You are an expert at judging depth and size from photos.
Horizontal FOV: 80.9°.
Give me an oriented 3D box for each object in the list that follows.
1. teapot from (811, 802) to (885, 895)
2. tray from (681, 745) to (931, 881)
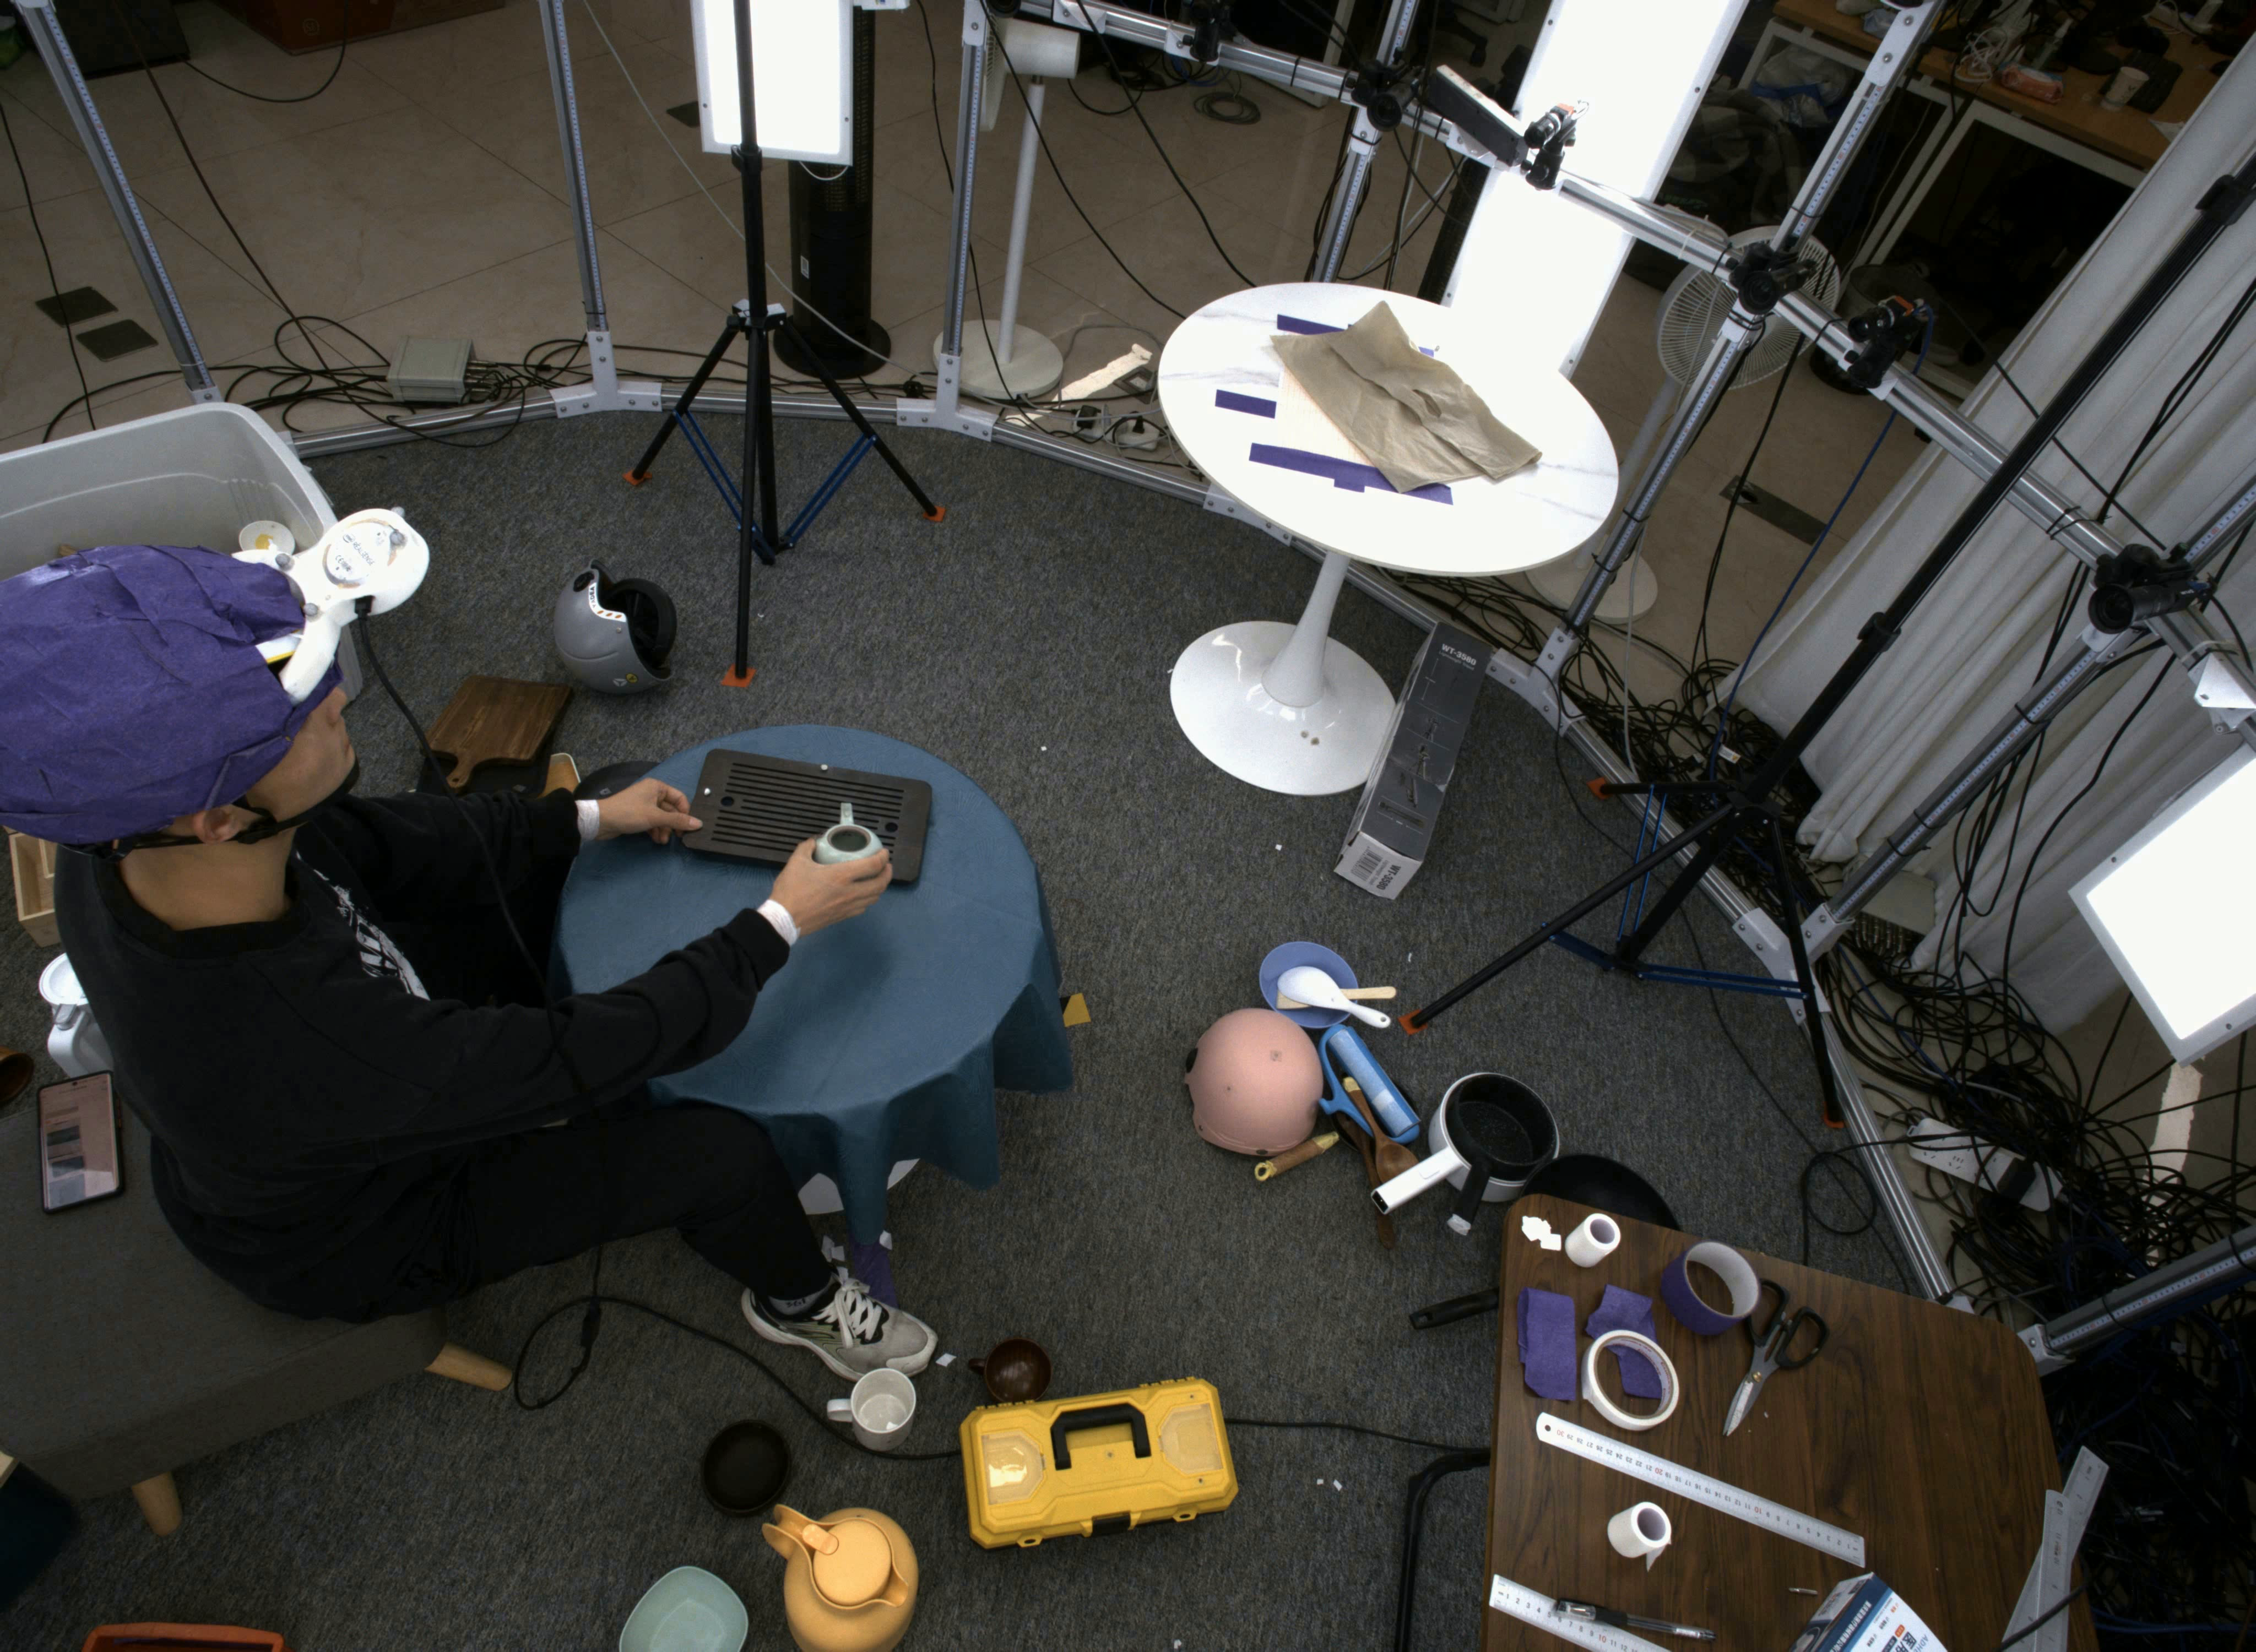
[{"bbox_3d":[-0.339,0.037,1.568,0.088,0.077,0.139,1,36,-15],"label":"teapot"},{"bbox_3d":[-0.421,-0.017,1.715,0.306,0.019,0.167,9,52,-11],"label":"tray"}]
